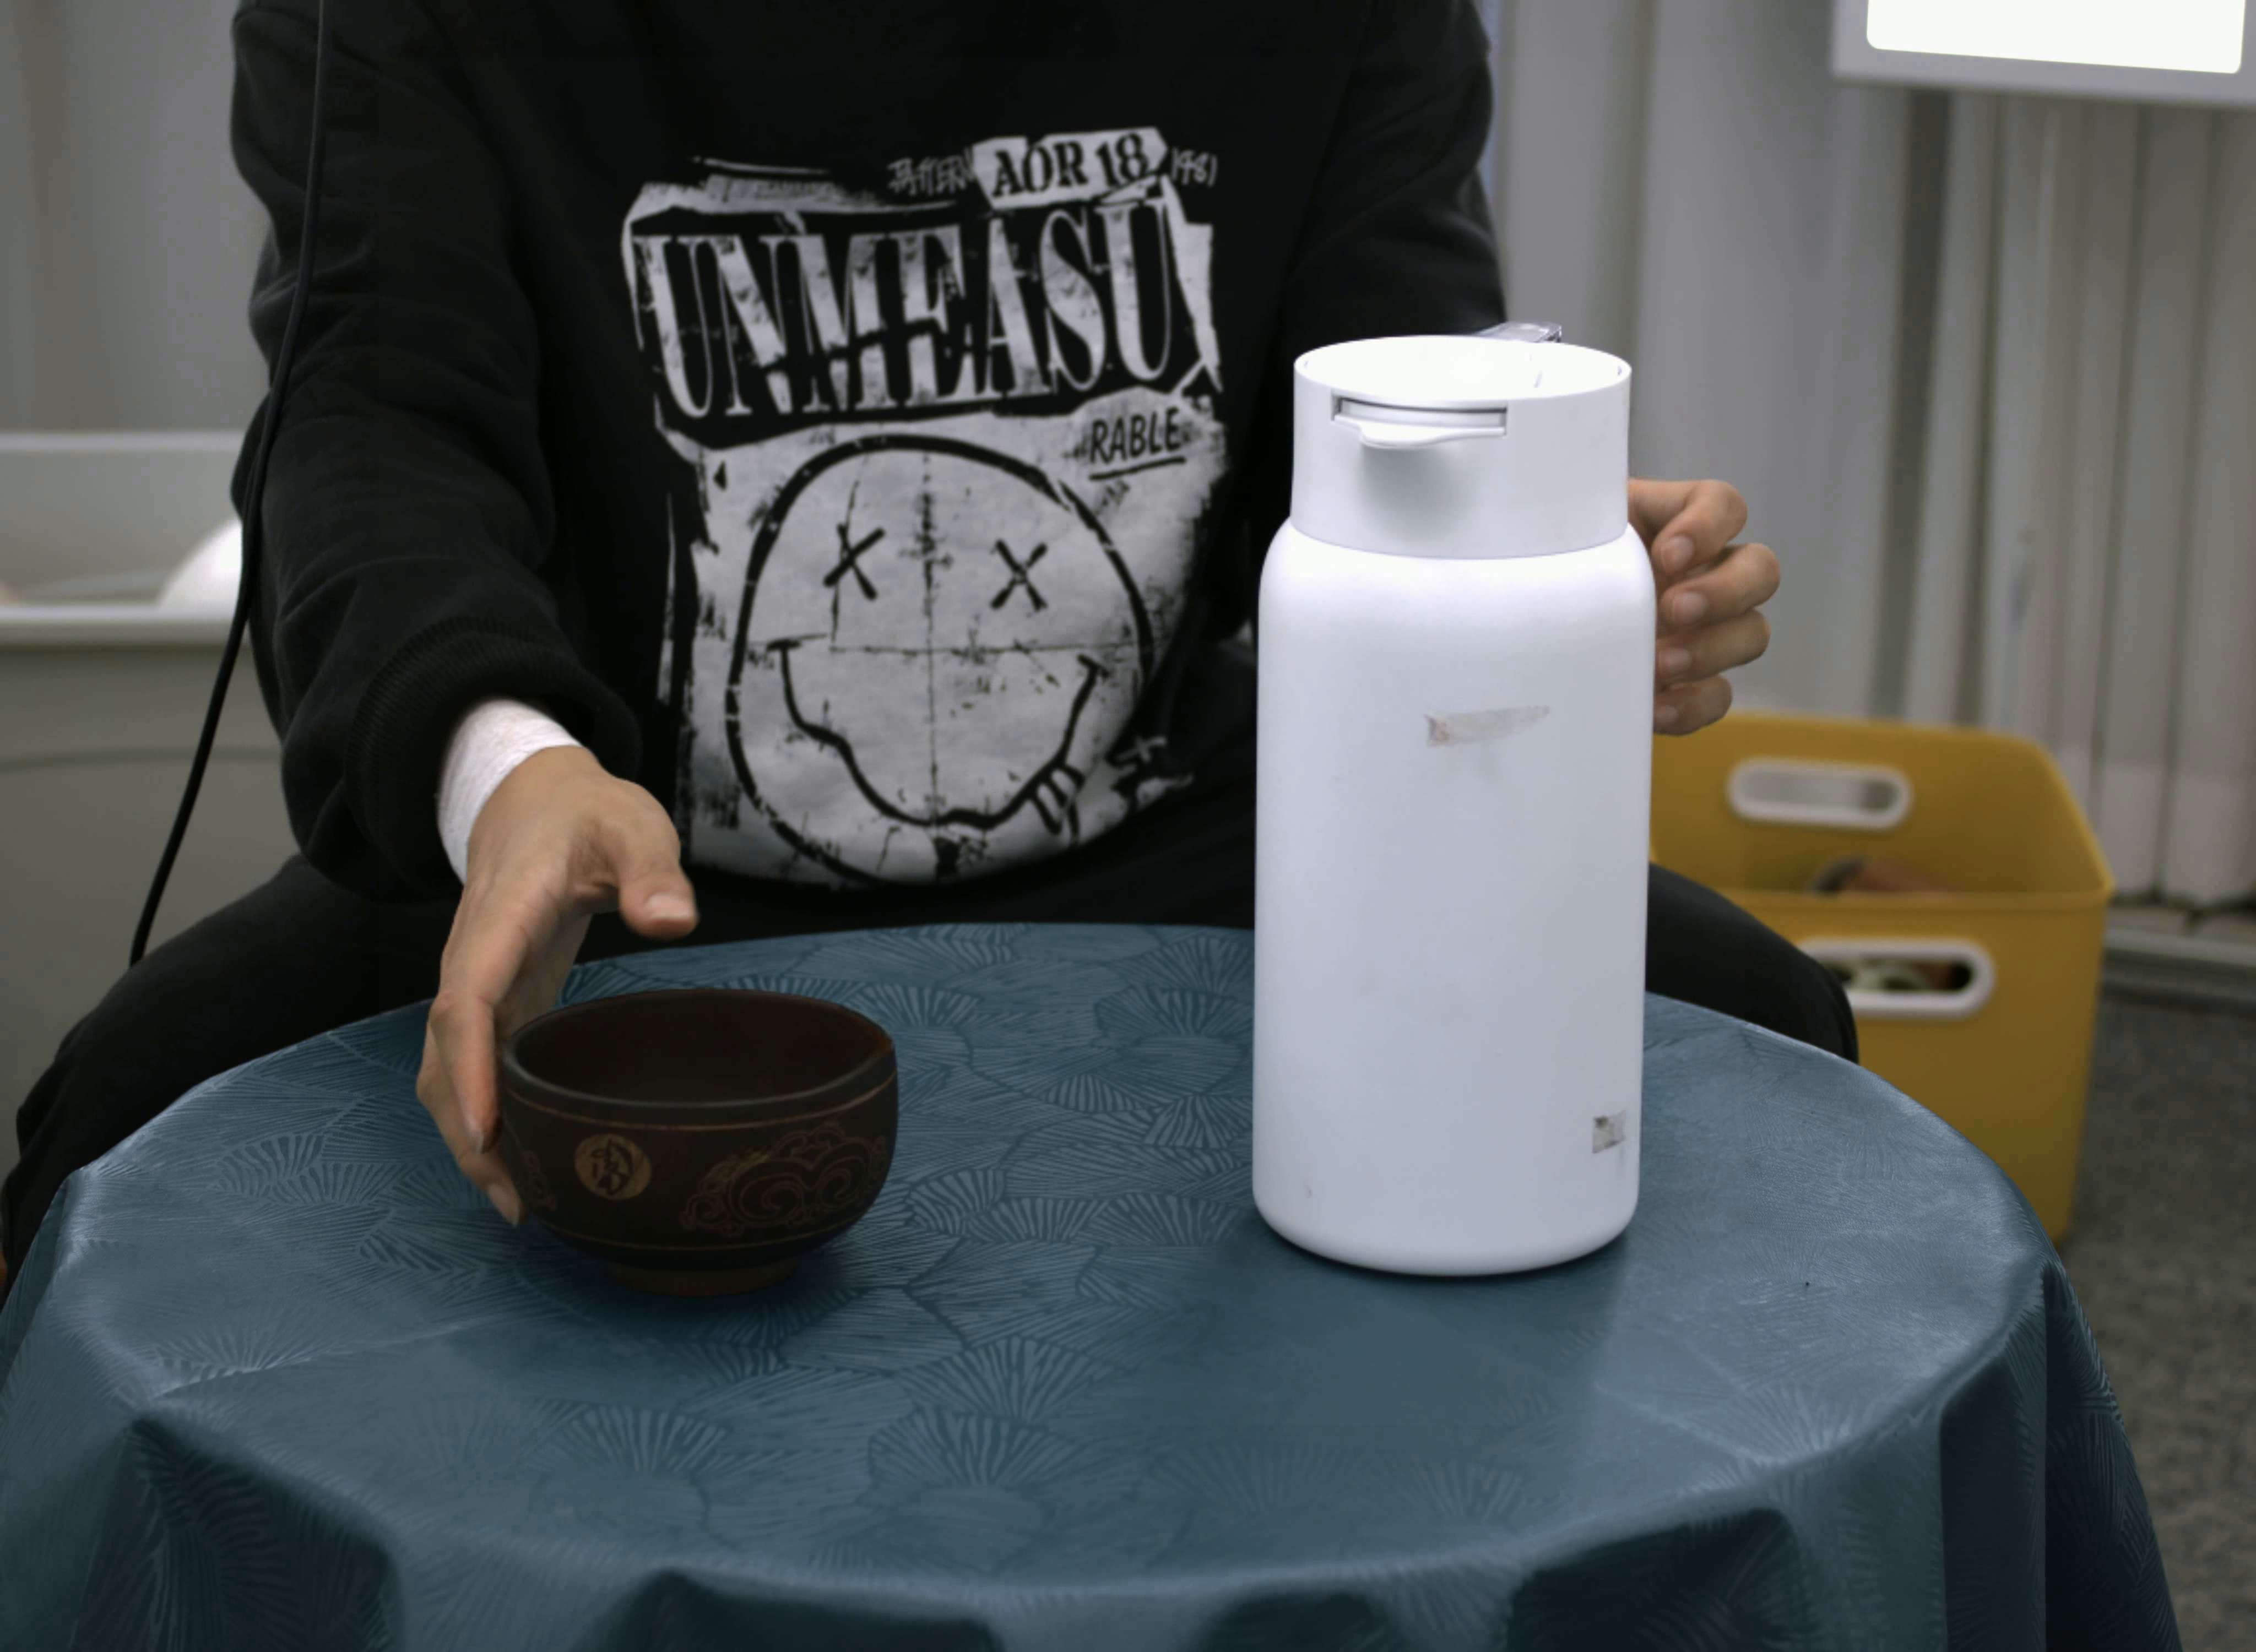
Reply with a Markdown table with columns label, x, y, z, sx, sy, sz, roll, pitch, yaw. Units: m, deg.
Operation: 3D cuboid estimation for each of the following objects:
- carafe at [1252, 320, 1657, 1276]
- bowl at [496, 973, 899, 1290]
| label | x | y | z | sx | sy | sz | roll | pitch | yaw |
| --- | --- | --- | --- | --- | --- | --- | --- | --- | --- |
| carafe | 0.101 | -0.013 | 1.577 | 0.123 | 0.271 | 0.173 | 4 | 17 | 19 |
| bowl | -0.126 | 0.094 | 1.546 | 0.117 | 0.070 | 0.117 | 1 | 17 | 0 |
